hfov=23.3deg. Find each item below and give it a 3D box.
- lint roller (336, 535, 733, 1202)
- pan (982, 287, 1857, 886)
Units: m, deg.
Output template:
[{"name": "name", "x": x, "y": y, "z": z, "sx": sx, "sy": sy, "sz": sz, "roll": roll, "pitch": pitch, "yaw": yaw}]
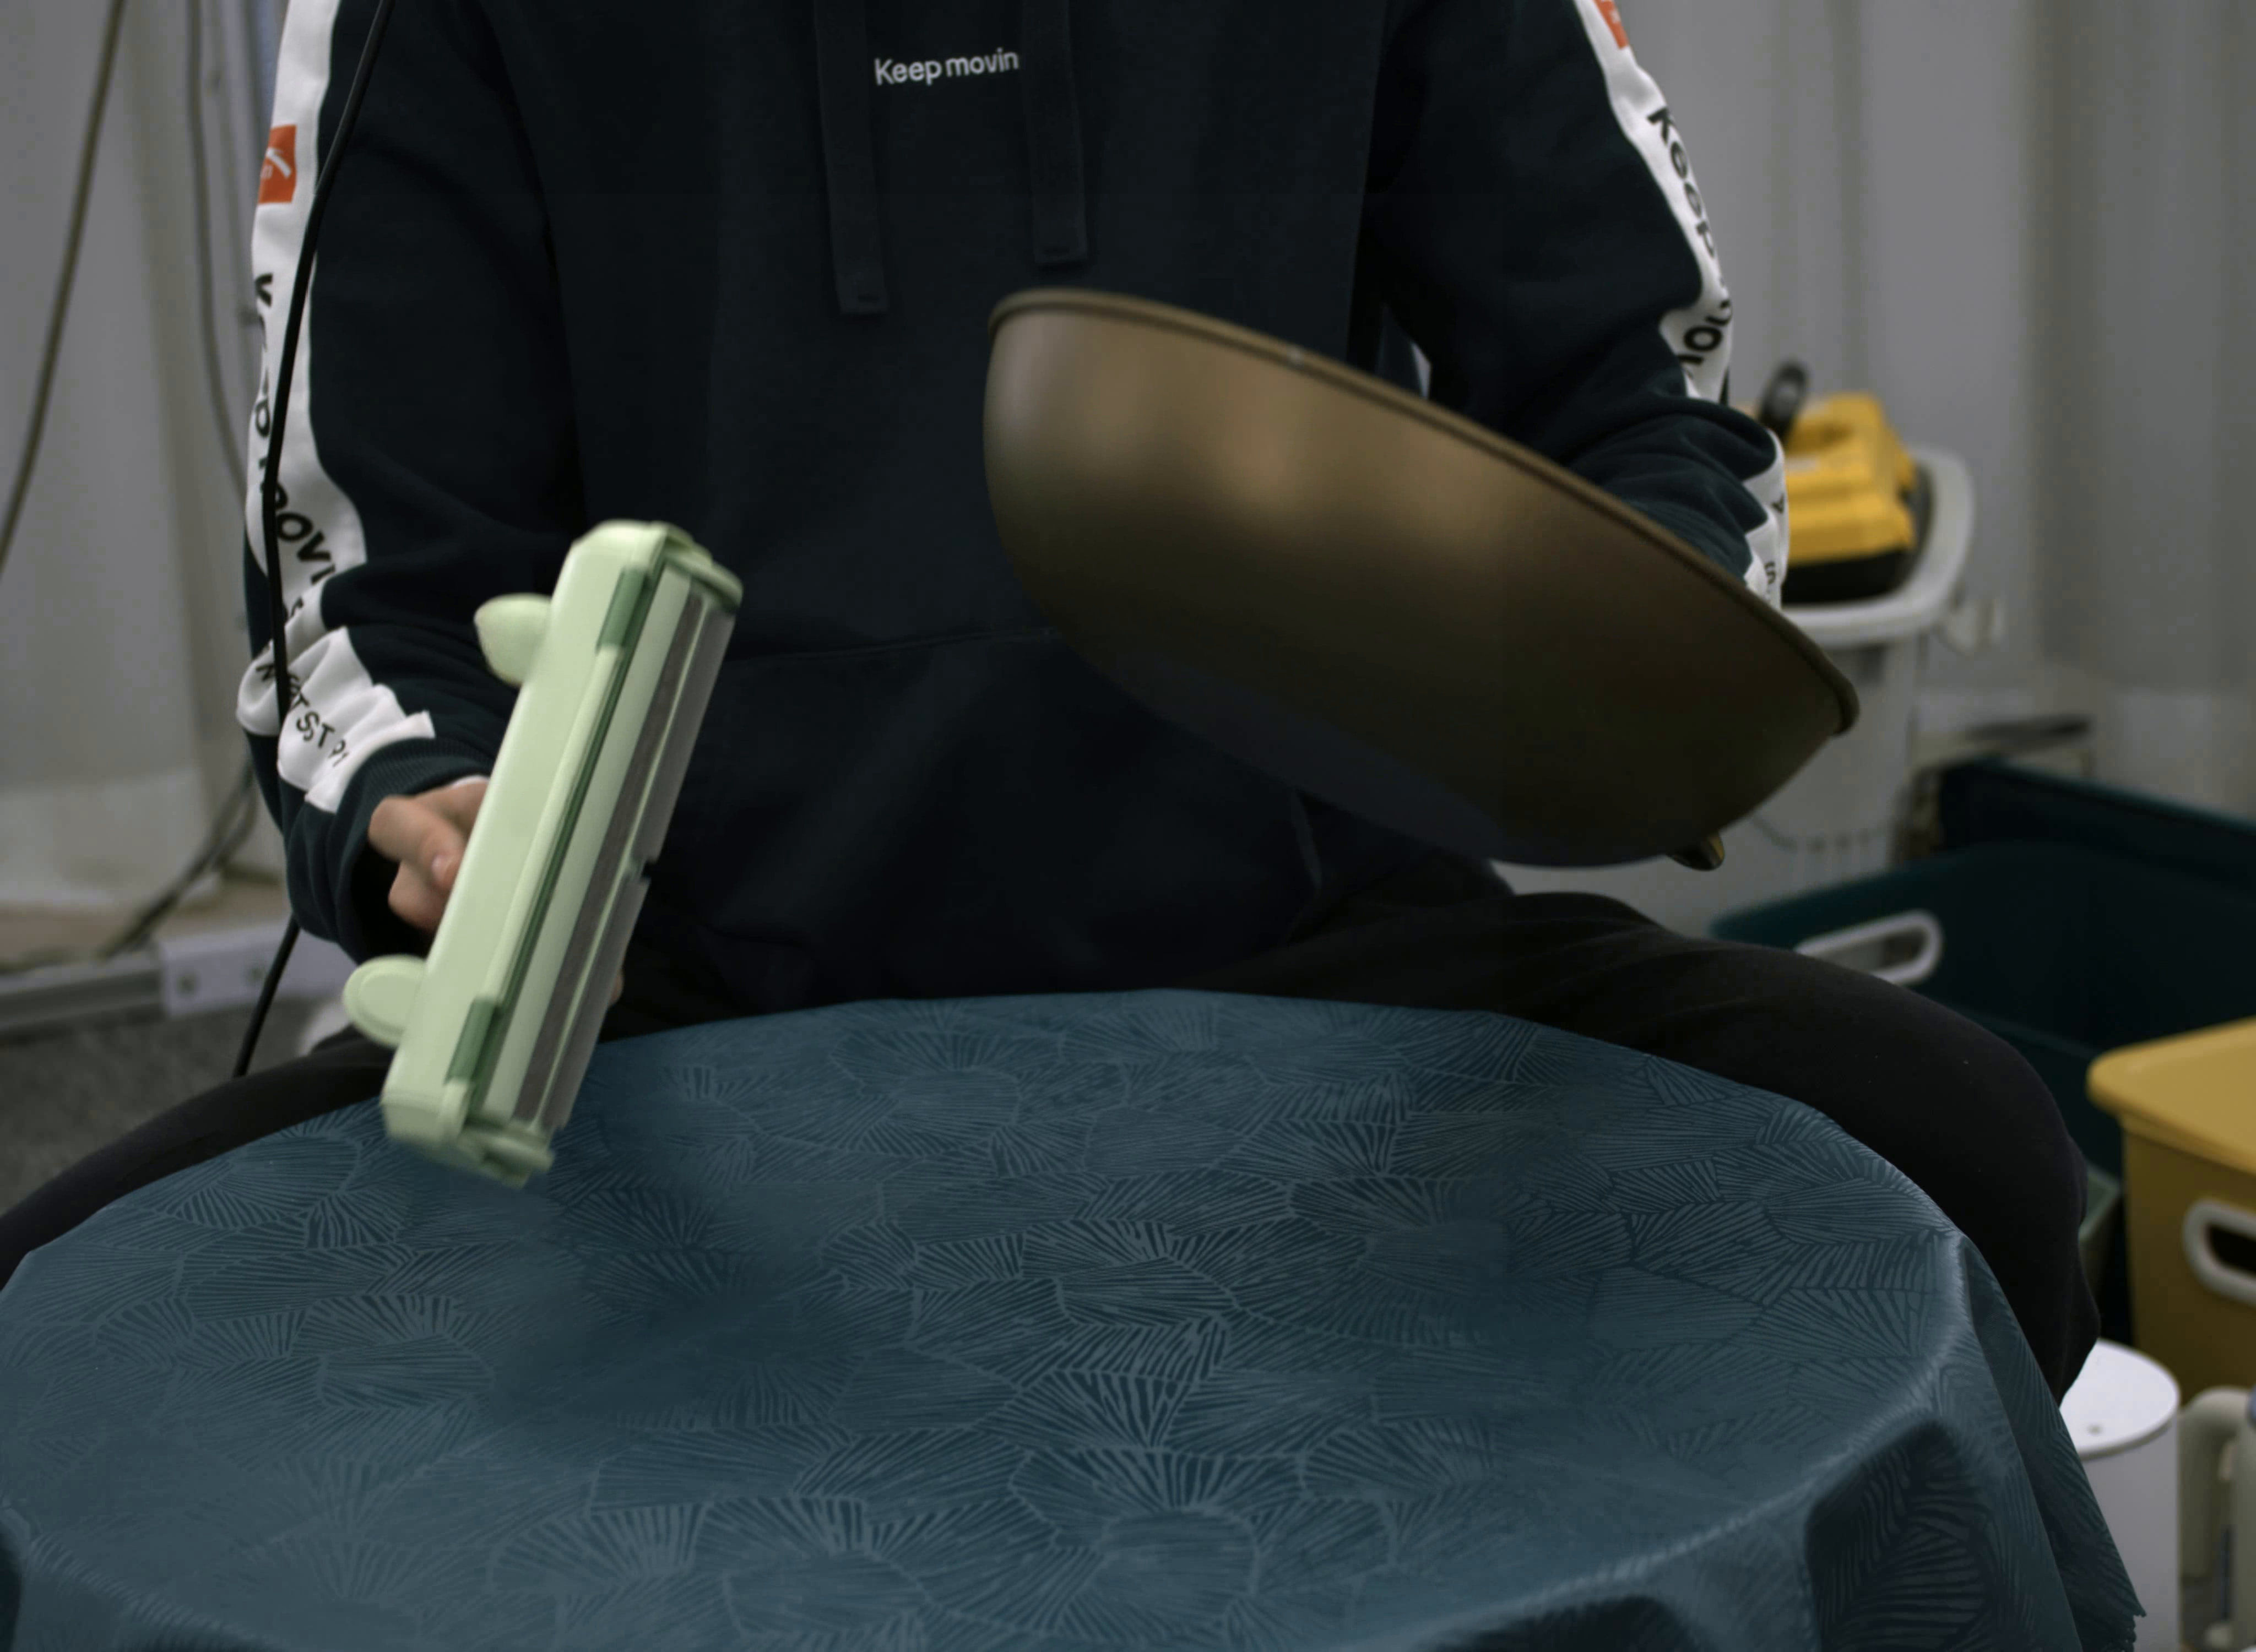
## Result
[{"name": "lint roller", "x": -0.191, "y": 0.017, "z": 1.672, "sx": 0.081, "sy": 0.200, "sz": 0.183, "roll": 21, "pitch": -14, "yaw": -13}, {"name": "pan", "x": 0.100, "y": -0.029, "z": 1.693, "sx": 0.289, "sy": 0.087, "sz": 0.458, "roll": 22, "pitch": -9, "yaw": 25}]
